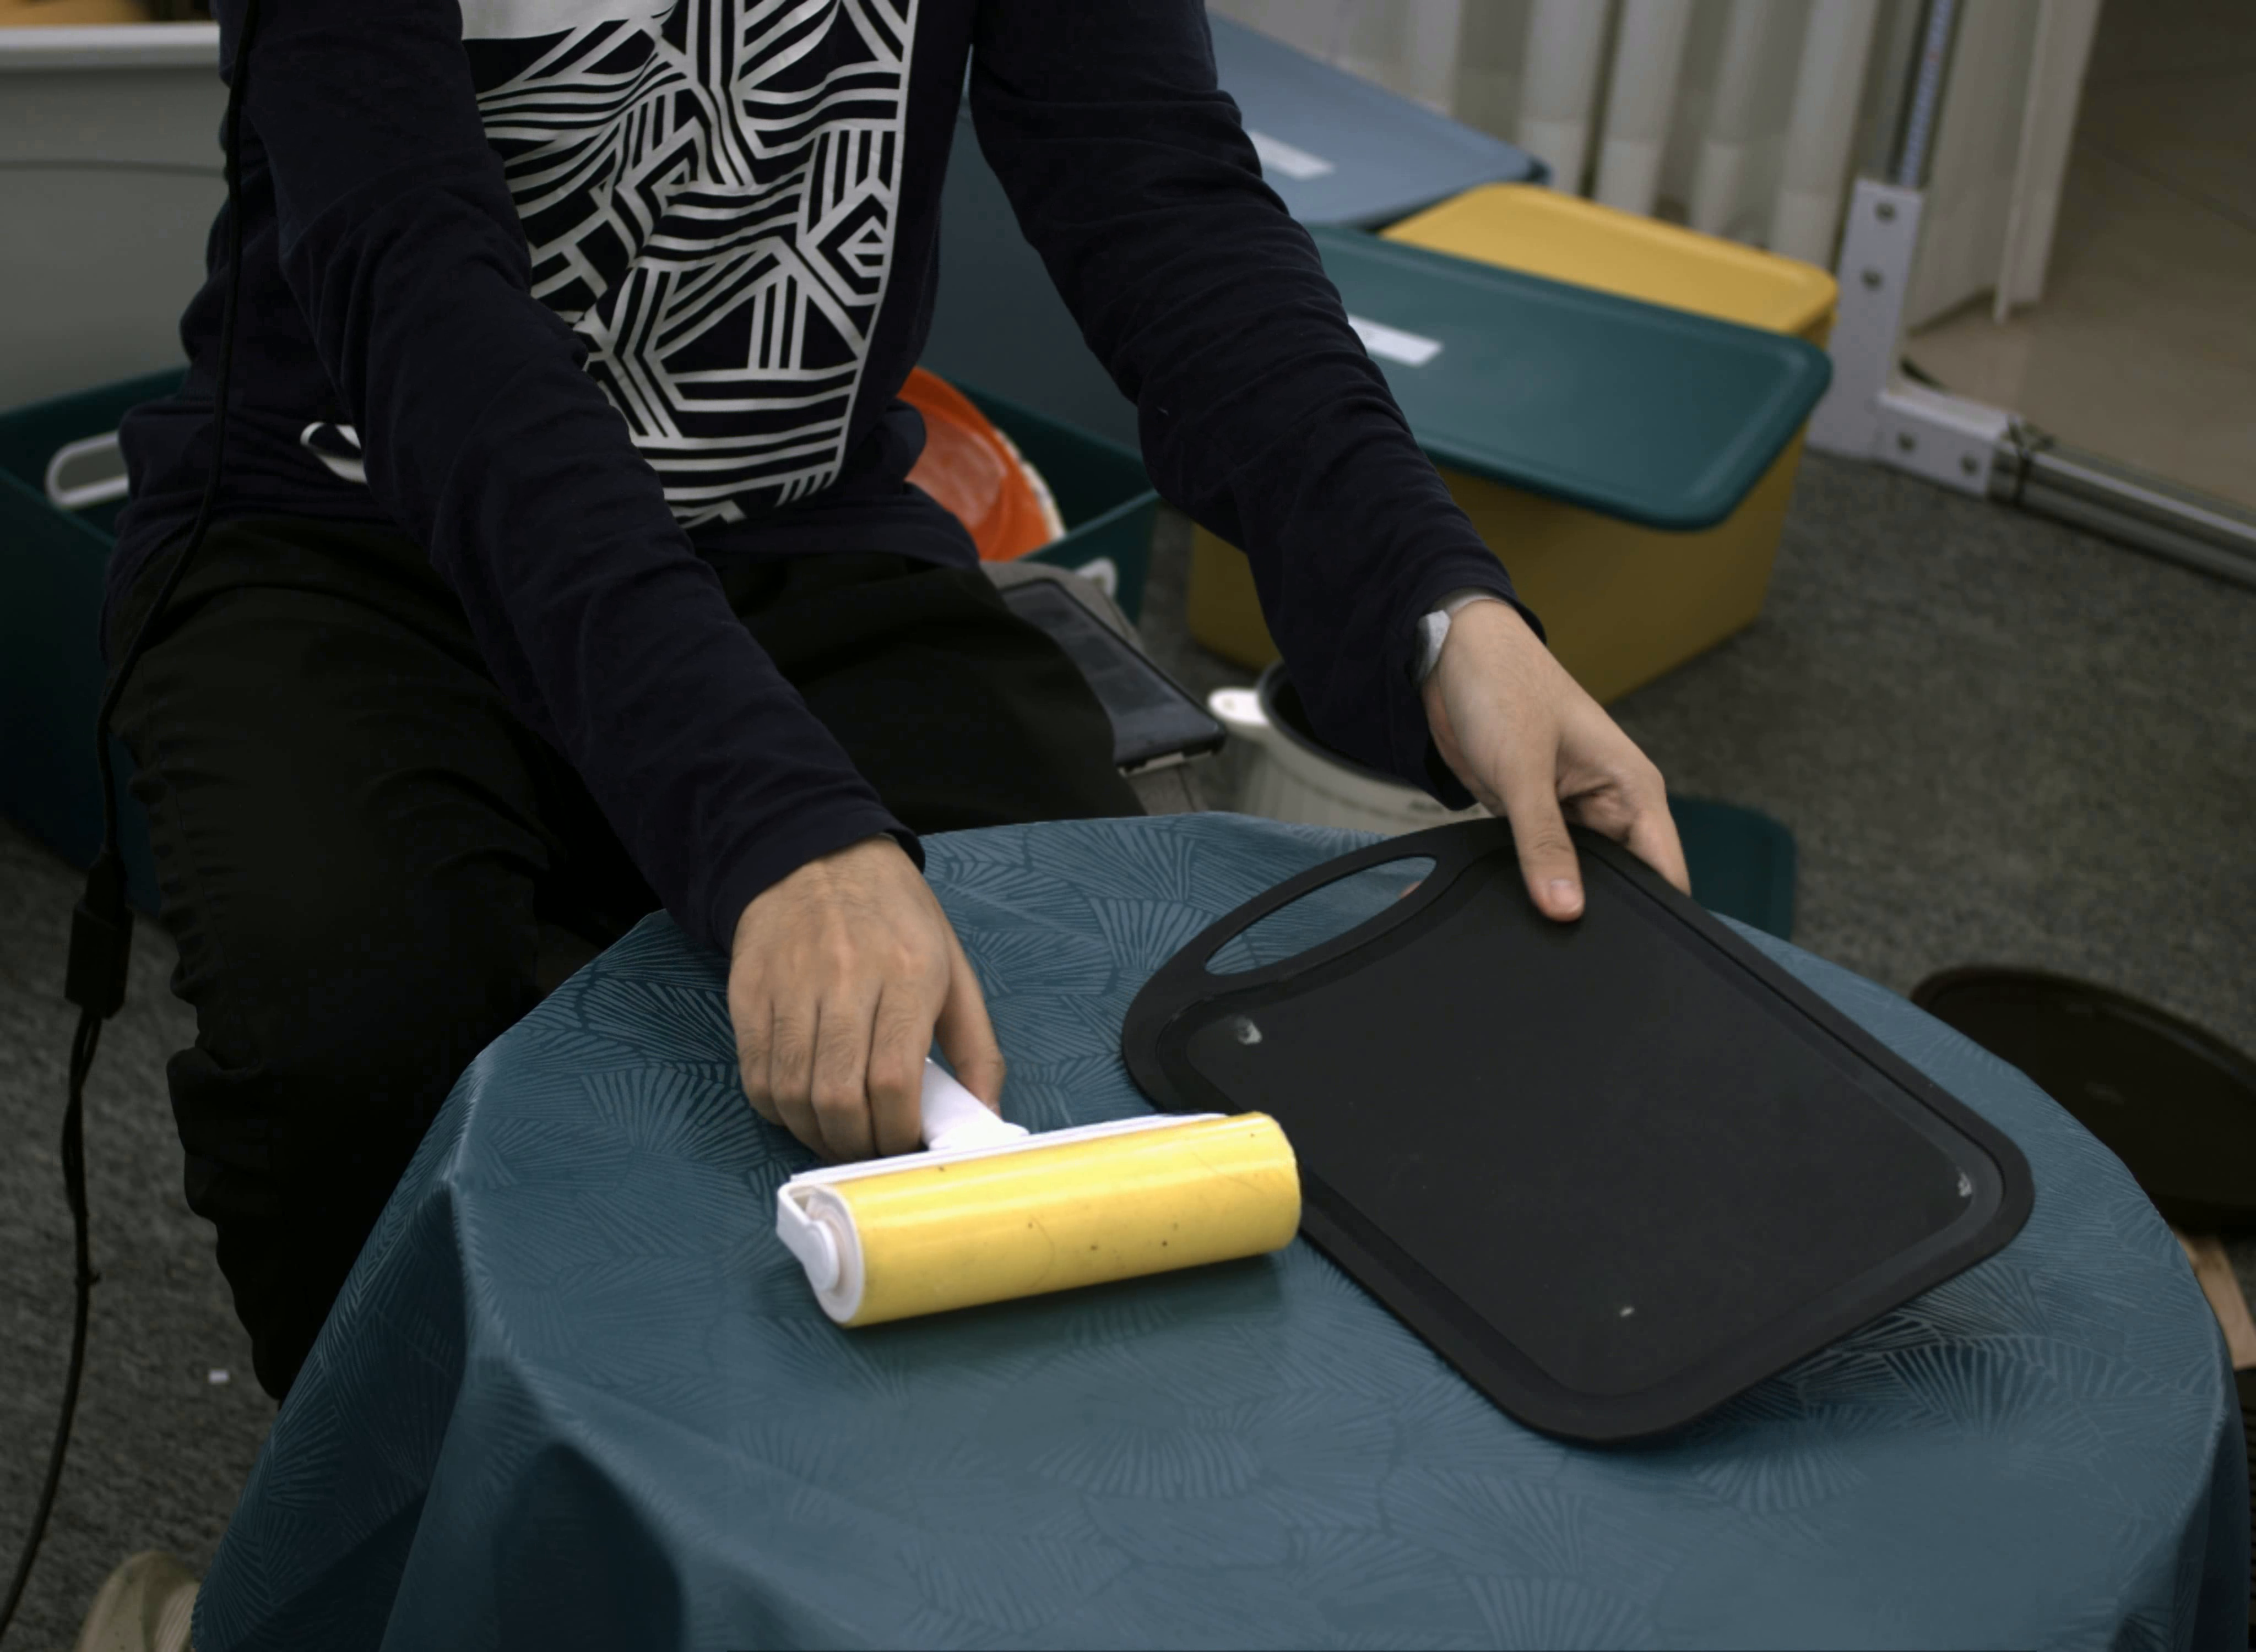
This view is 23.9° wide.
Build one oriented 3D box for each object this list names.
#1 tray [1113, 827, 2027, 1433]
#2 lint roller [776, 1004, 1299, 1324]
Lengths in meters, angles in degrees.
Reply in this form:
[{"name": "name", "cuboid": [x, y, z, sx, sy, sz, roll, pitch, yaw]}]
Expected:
[{"name": "tray", "cuboid": [0.141, 0.093, 1.830, 0.210, 0.010, 0.328, -25, 38, -22]}, {"name": "lint roller", "cuboid": [-0.059, 0.095, 1.793, 0.173, 0.051, 0.194, -8, 33, -28]}]
